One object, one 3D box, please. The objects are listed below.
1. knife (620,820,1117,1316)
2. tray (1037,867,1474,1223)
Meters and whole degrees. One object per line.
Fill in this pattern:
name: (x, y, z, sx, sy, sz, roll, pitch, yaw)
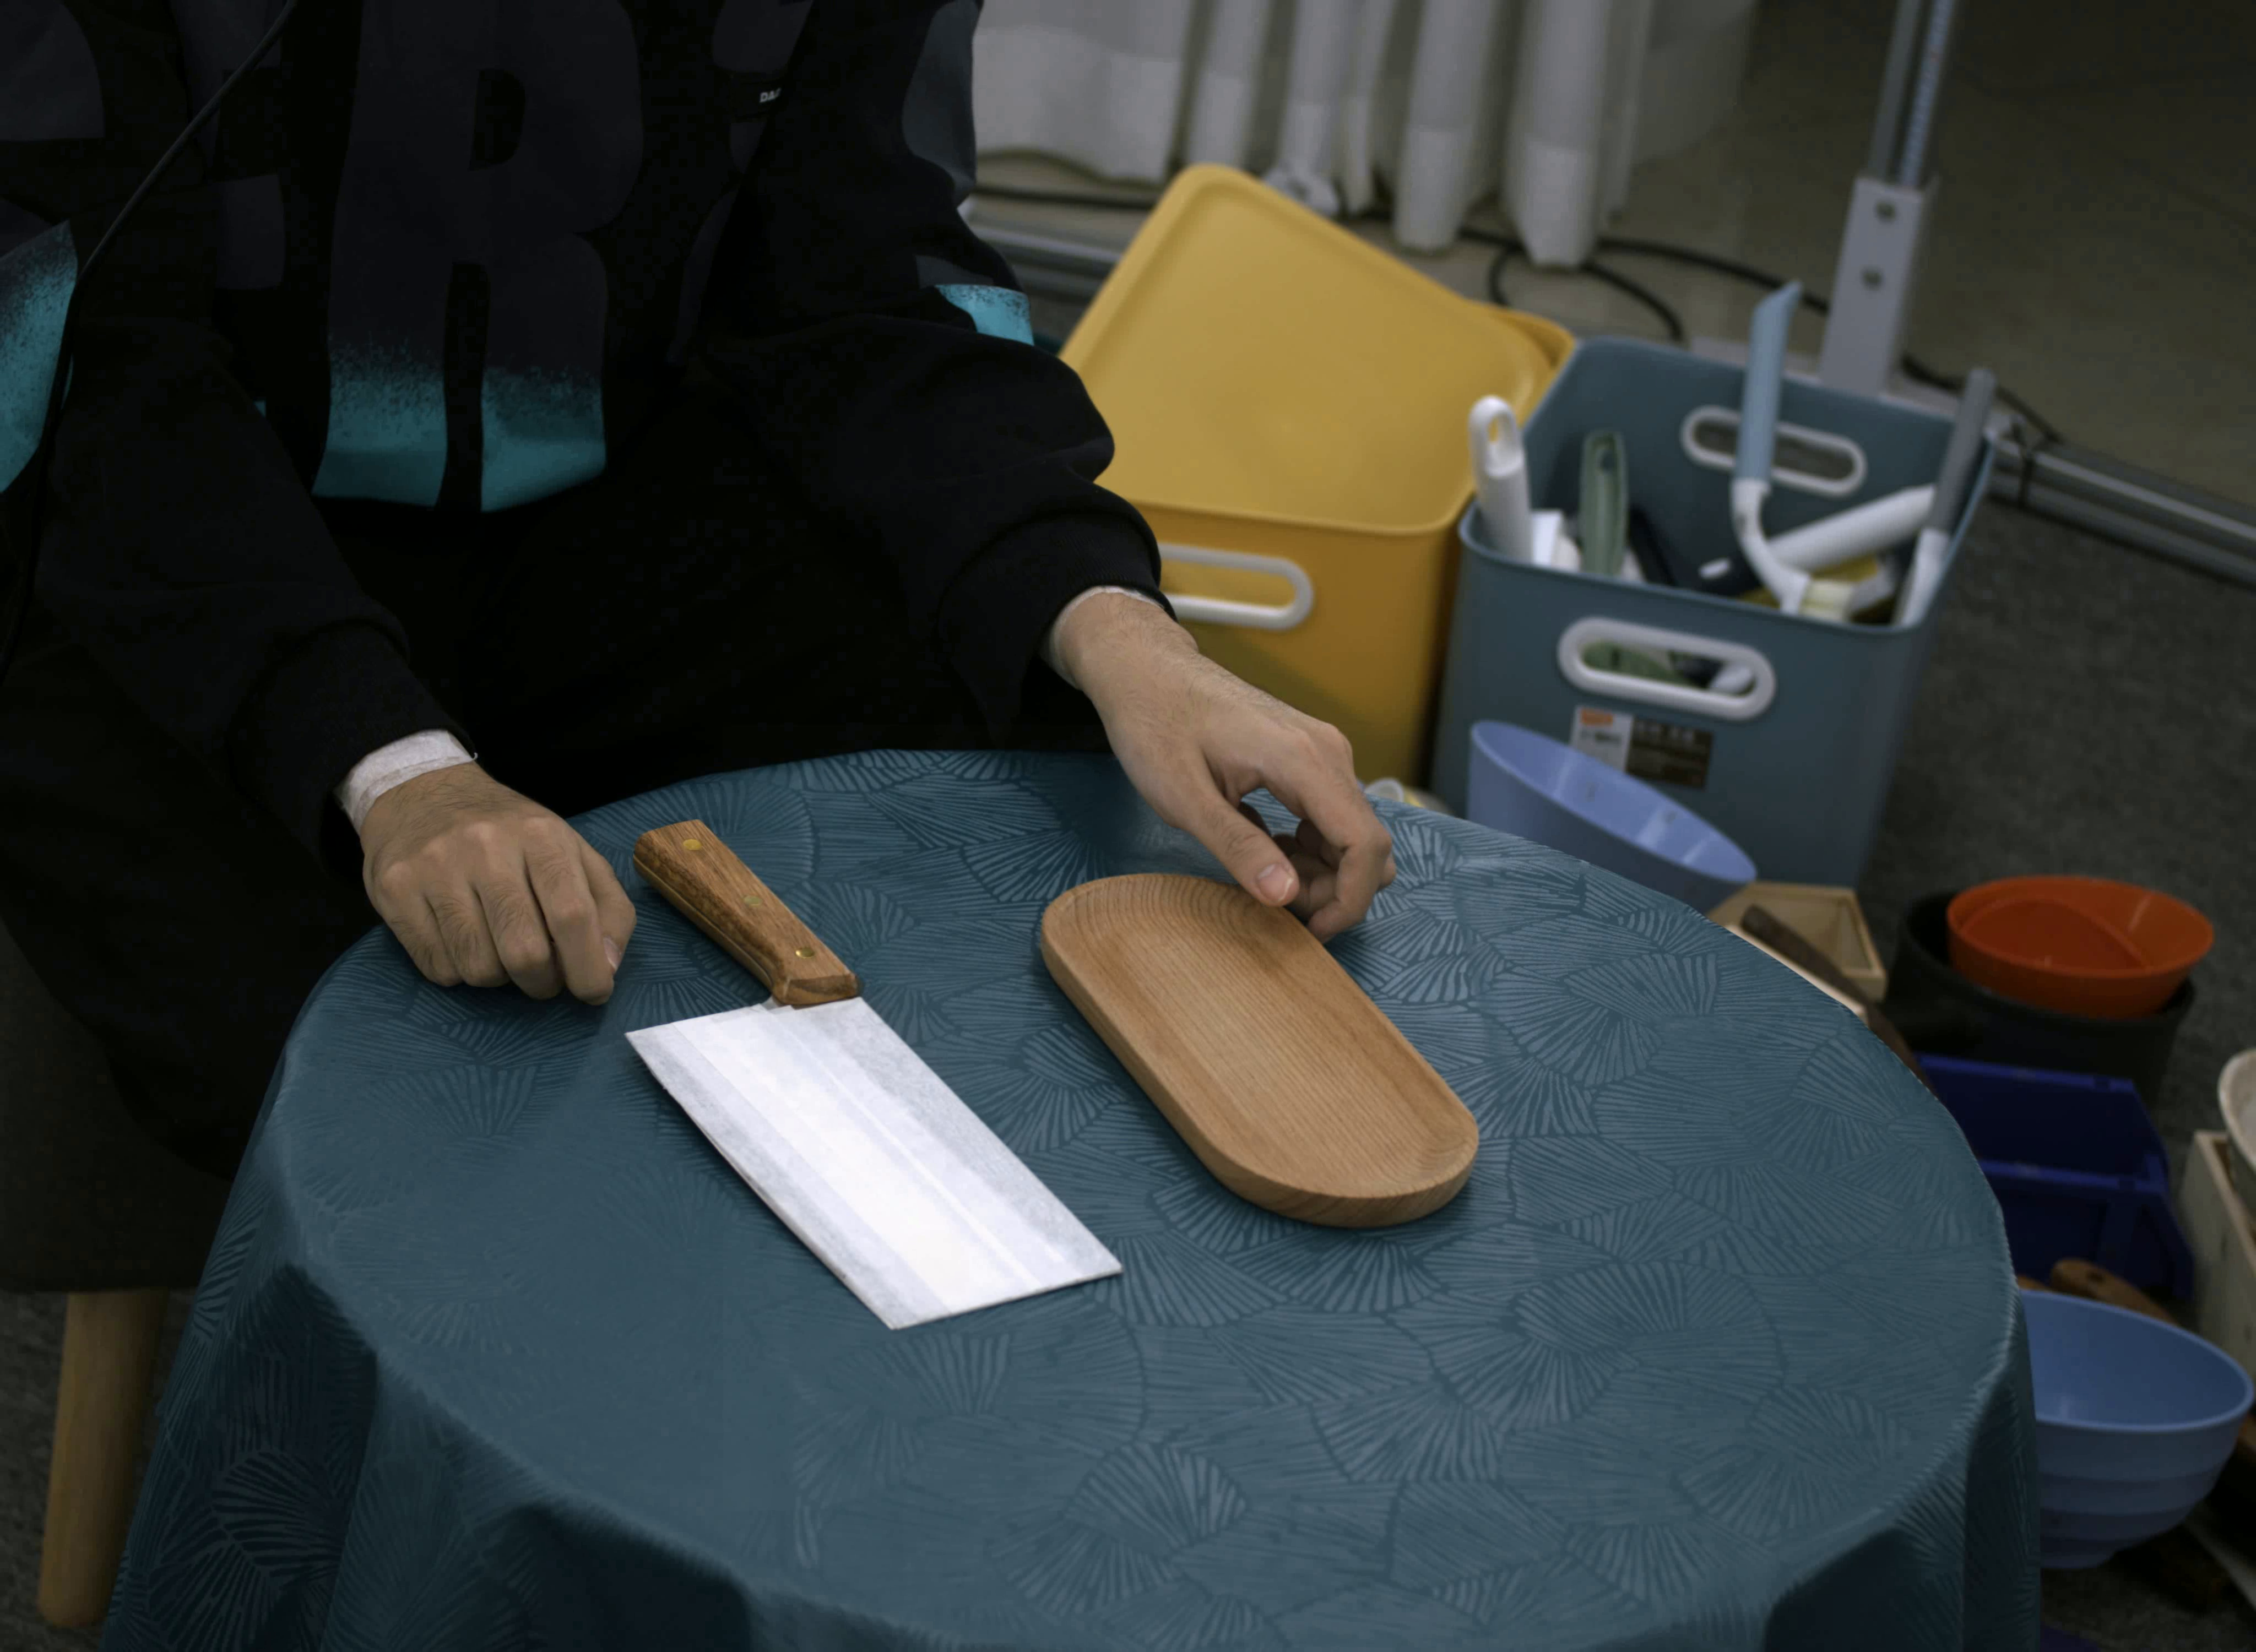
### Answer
knife: (-0.116, 0.082, 1.841, 0.092, 0.021, 0.308, -12, 35, -29)
tray: (0.043, 0.075, 1.888, 0.101, 0.020, 0.233, -5, 28, -23)
